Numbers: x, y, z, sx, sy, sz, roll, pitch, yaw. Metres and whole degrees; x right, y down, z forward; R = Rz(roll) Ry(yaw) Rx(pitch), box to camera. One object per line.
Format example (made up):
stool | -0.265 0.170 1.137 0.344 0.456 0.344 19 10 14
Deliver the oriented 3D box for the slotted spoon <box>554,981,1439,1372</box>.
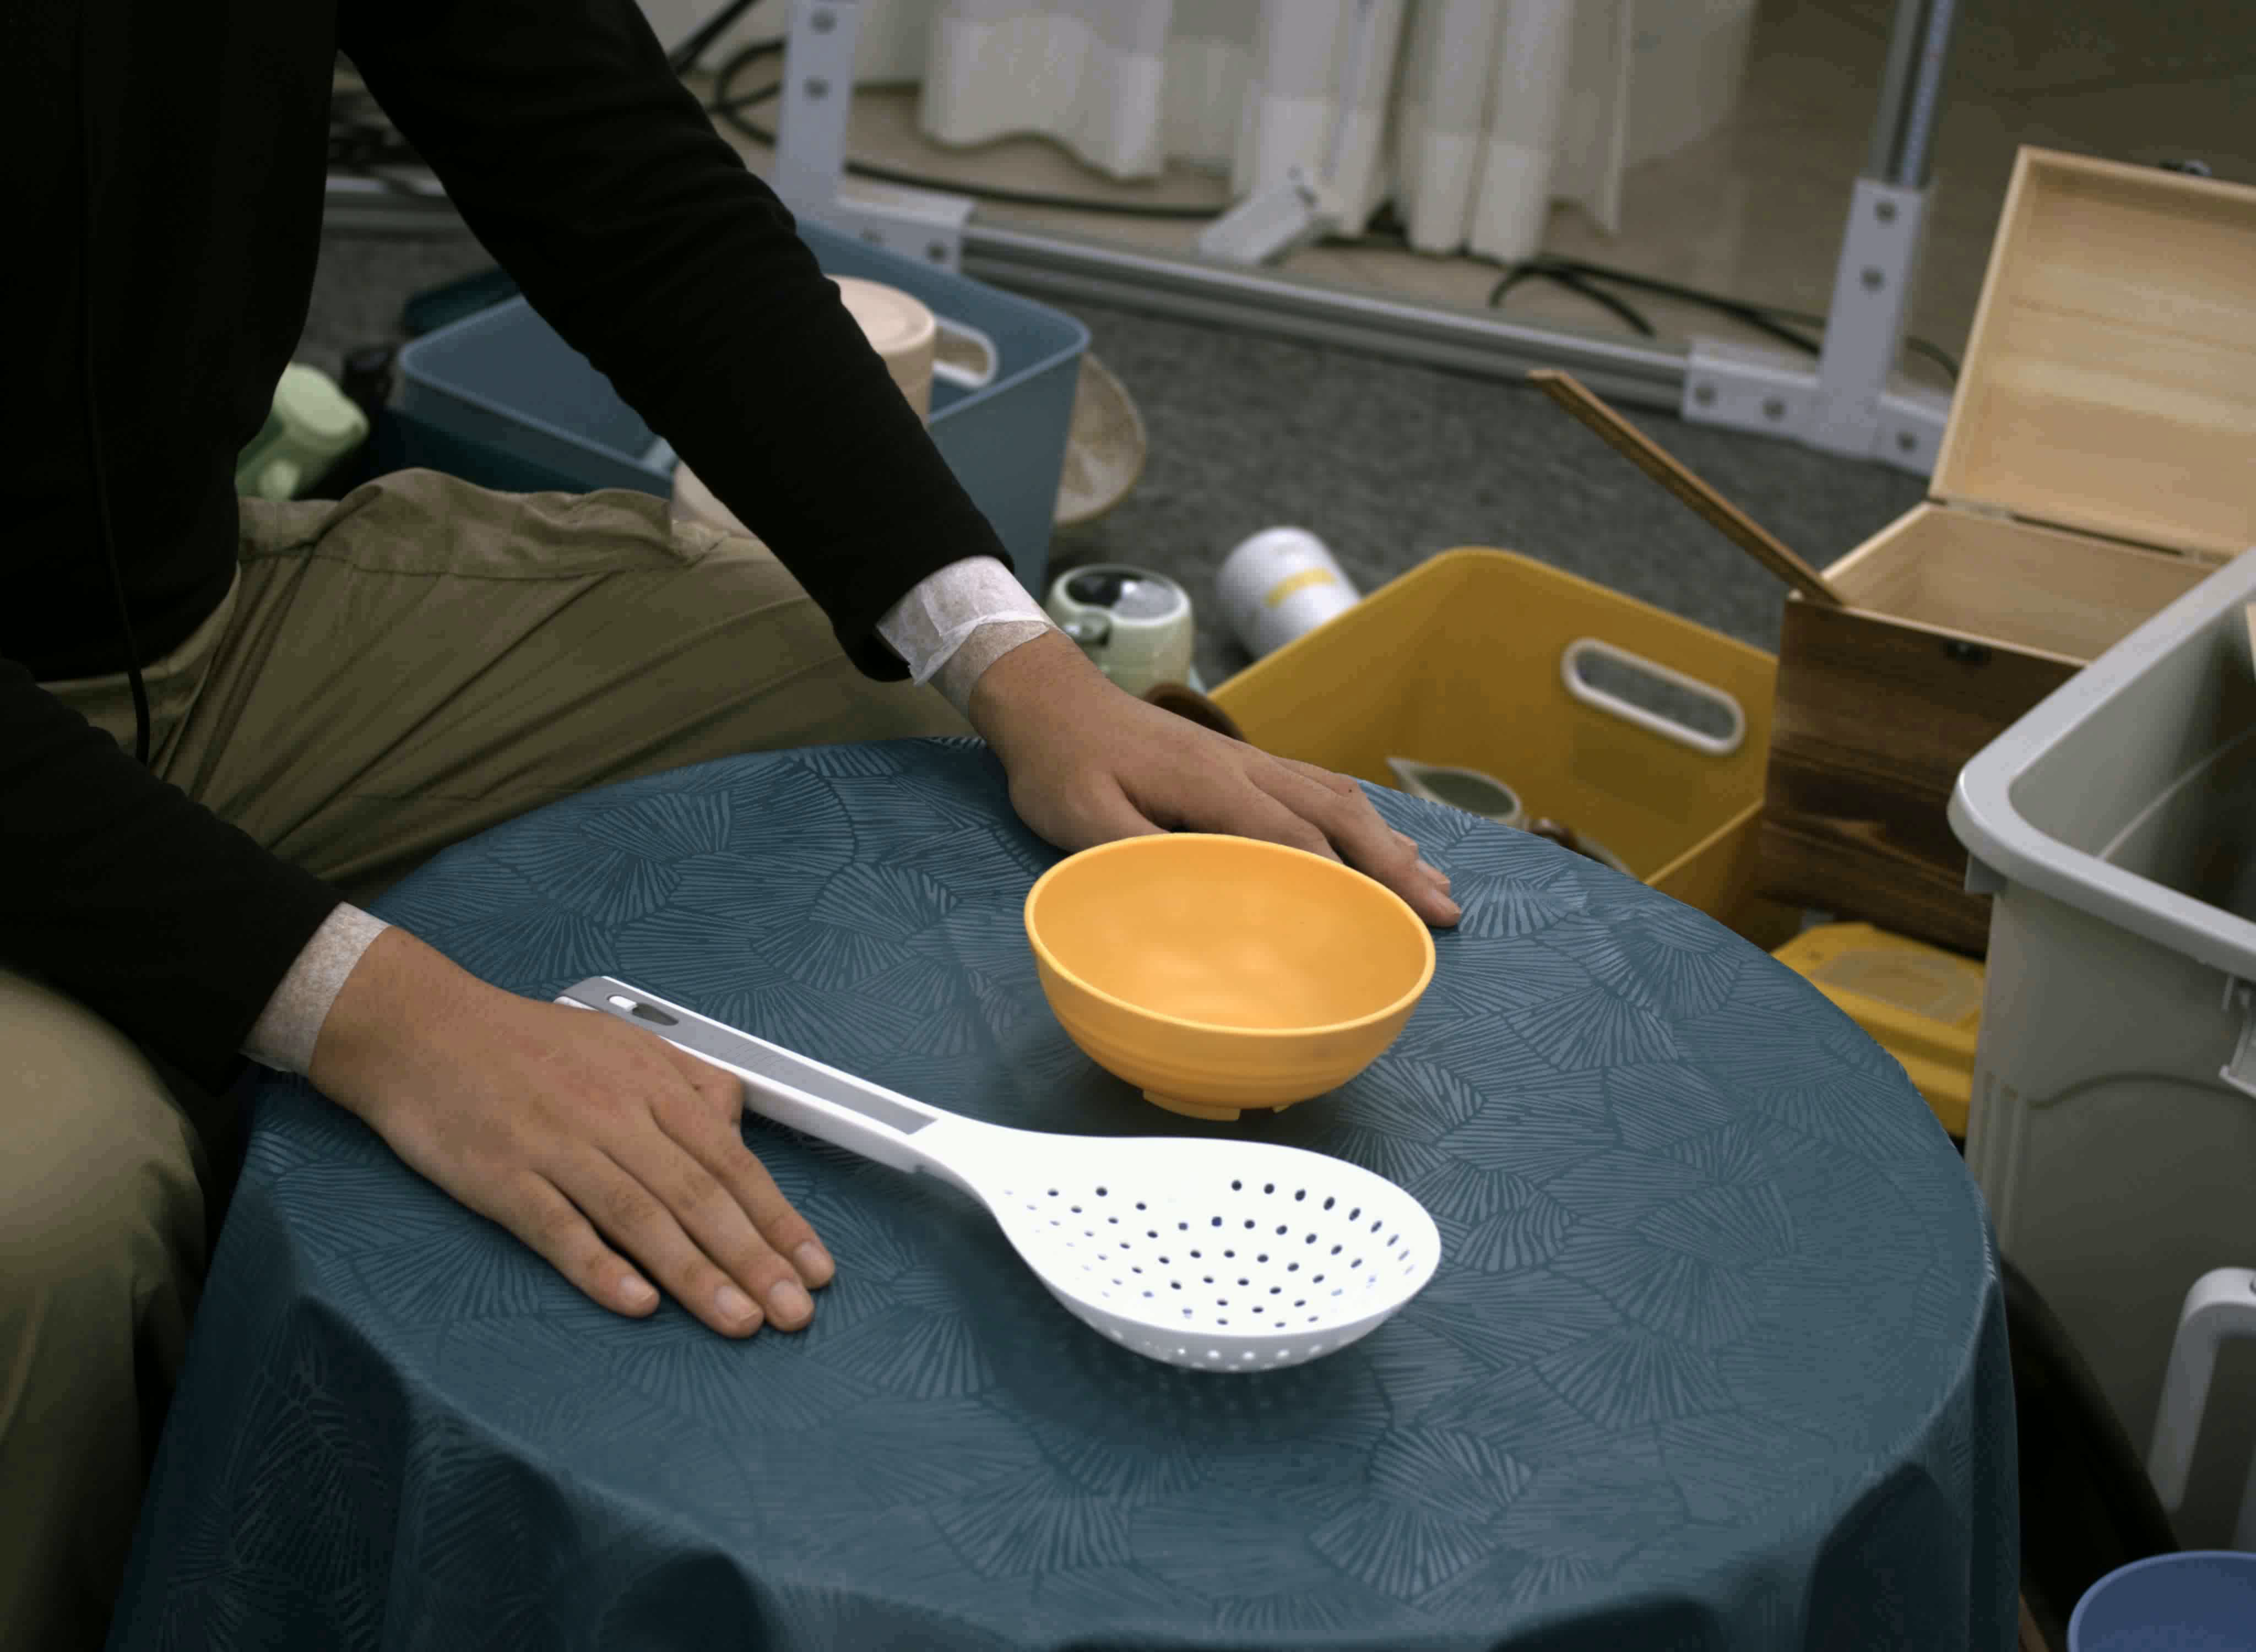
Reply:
slotted spoon | -0.055 0.109 1.767 0.352 0.045 0.135 23 30 31

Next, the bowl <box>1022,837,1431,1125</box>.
bowl | 0.031 0.063 1.866 0.145 0.060 0.146 7 26 -4
